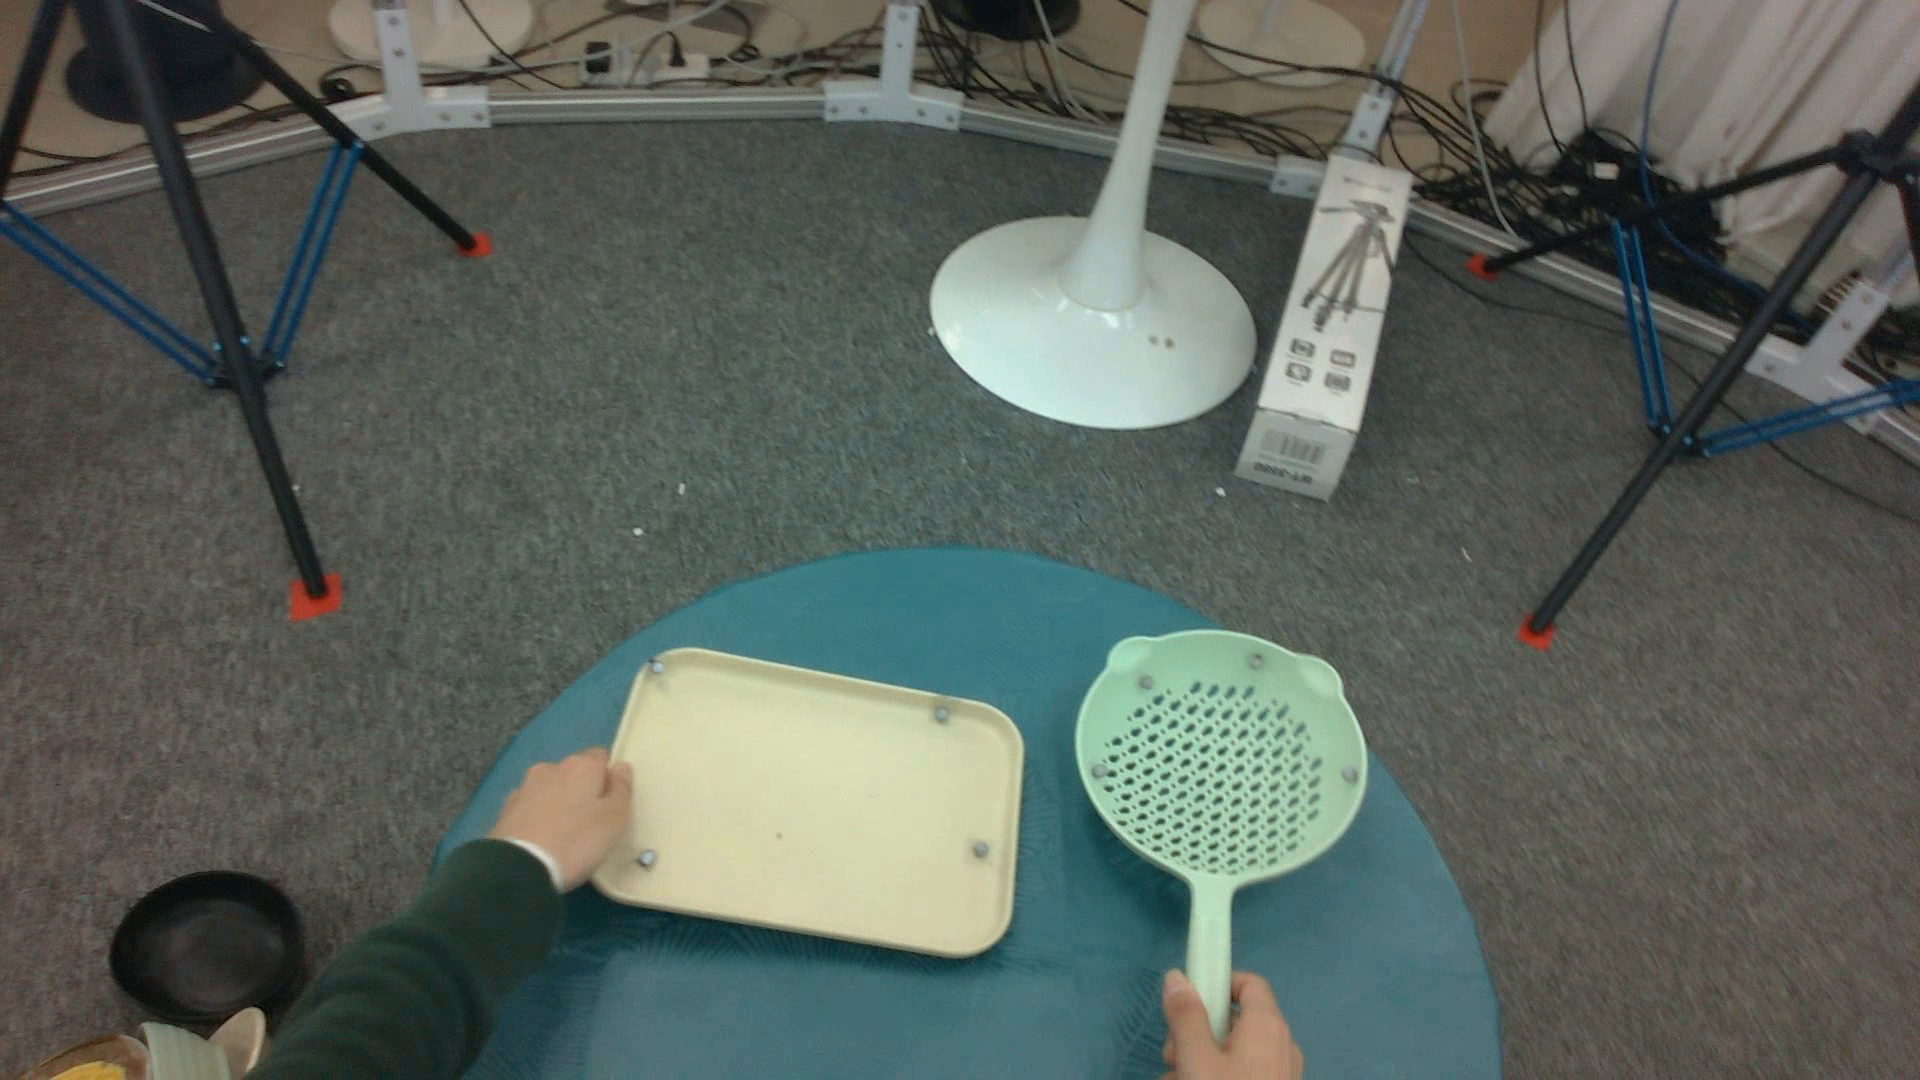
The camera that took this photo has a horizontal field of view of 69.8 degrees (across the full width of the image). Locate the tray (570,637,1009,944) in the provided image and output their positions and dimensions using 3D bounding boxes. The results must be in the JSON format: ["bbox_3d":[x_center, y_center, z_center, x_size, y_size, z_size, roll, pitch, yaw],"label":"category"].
[{"bbox_3d":[-0.091,0.142,0.794,0.240,0.017,0.172,11,47,-7],"label":"tray"}]

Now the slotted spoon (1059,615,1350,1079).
[{"bbox_3d":[0.129,0.194,0.756,0.169,0.075,0.360,4,42,8],"label":"slotted spoon"}]
